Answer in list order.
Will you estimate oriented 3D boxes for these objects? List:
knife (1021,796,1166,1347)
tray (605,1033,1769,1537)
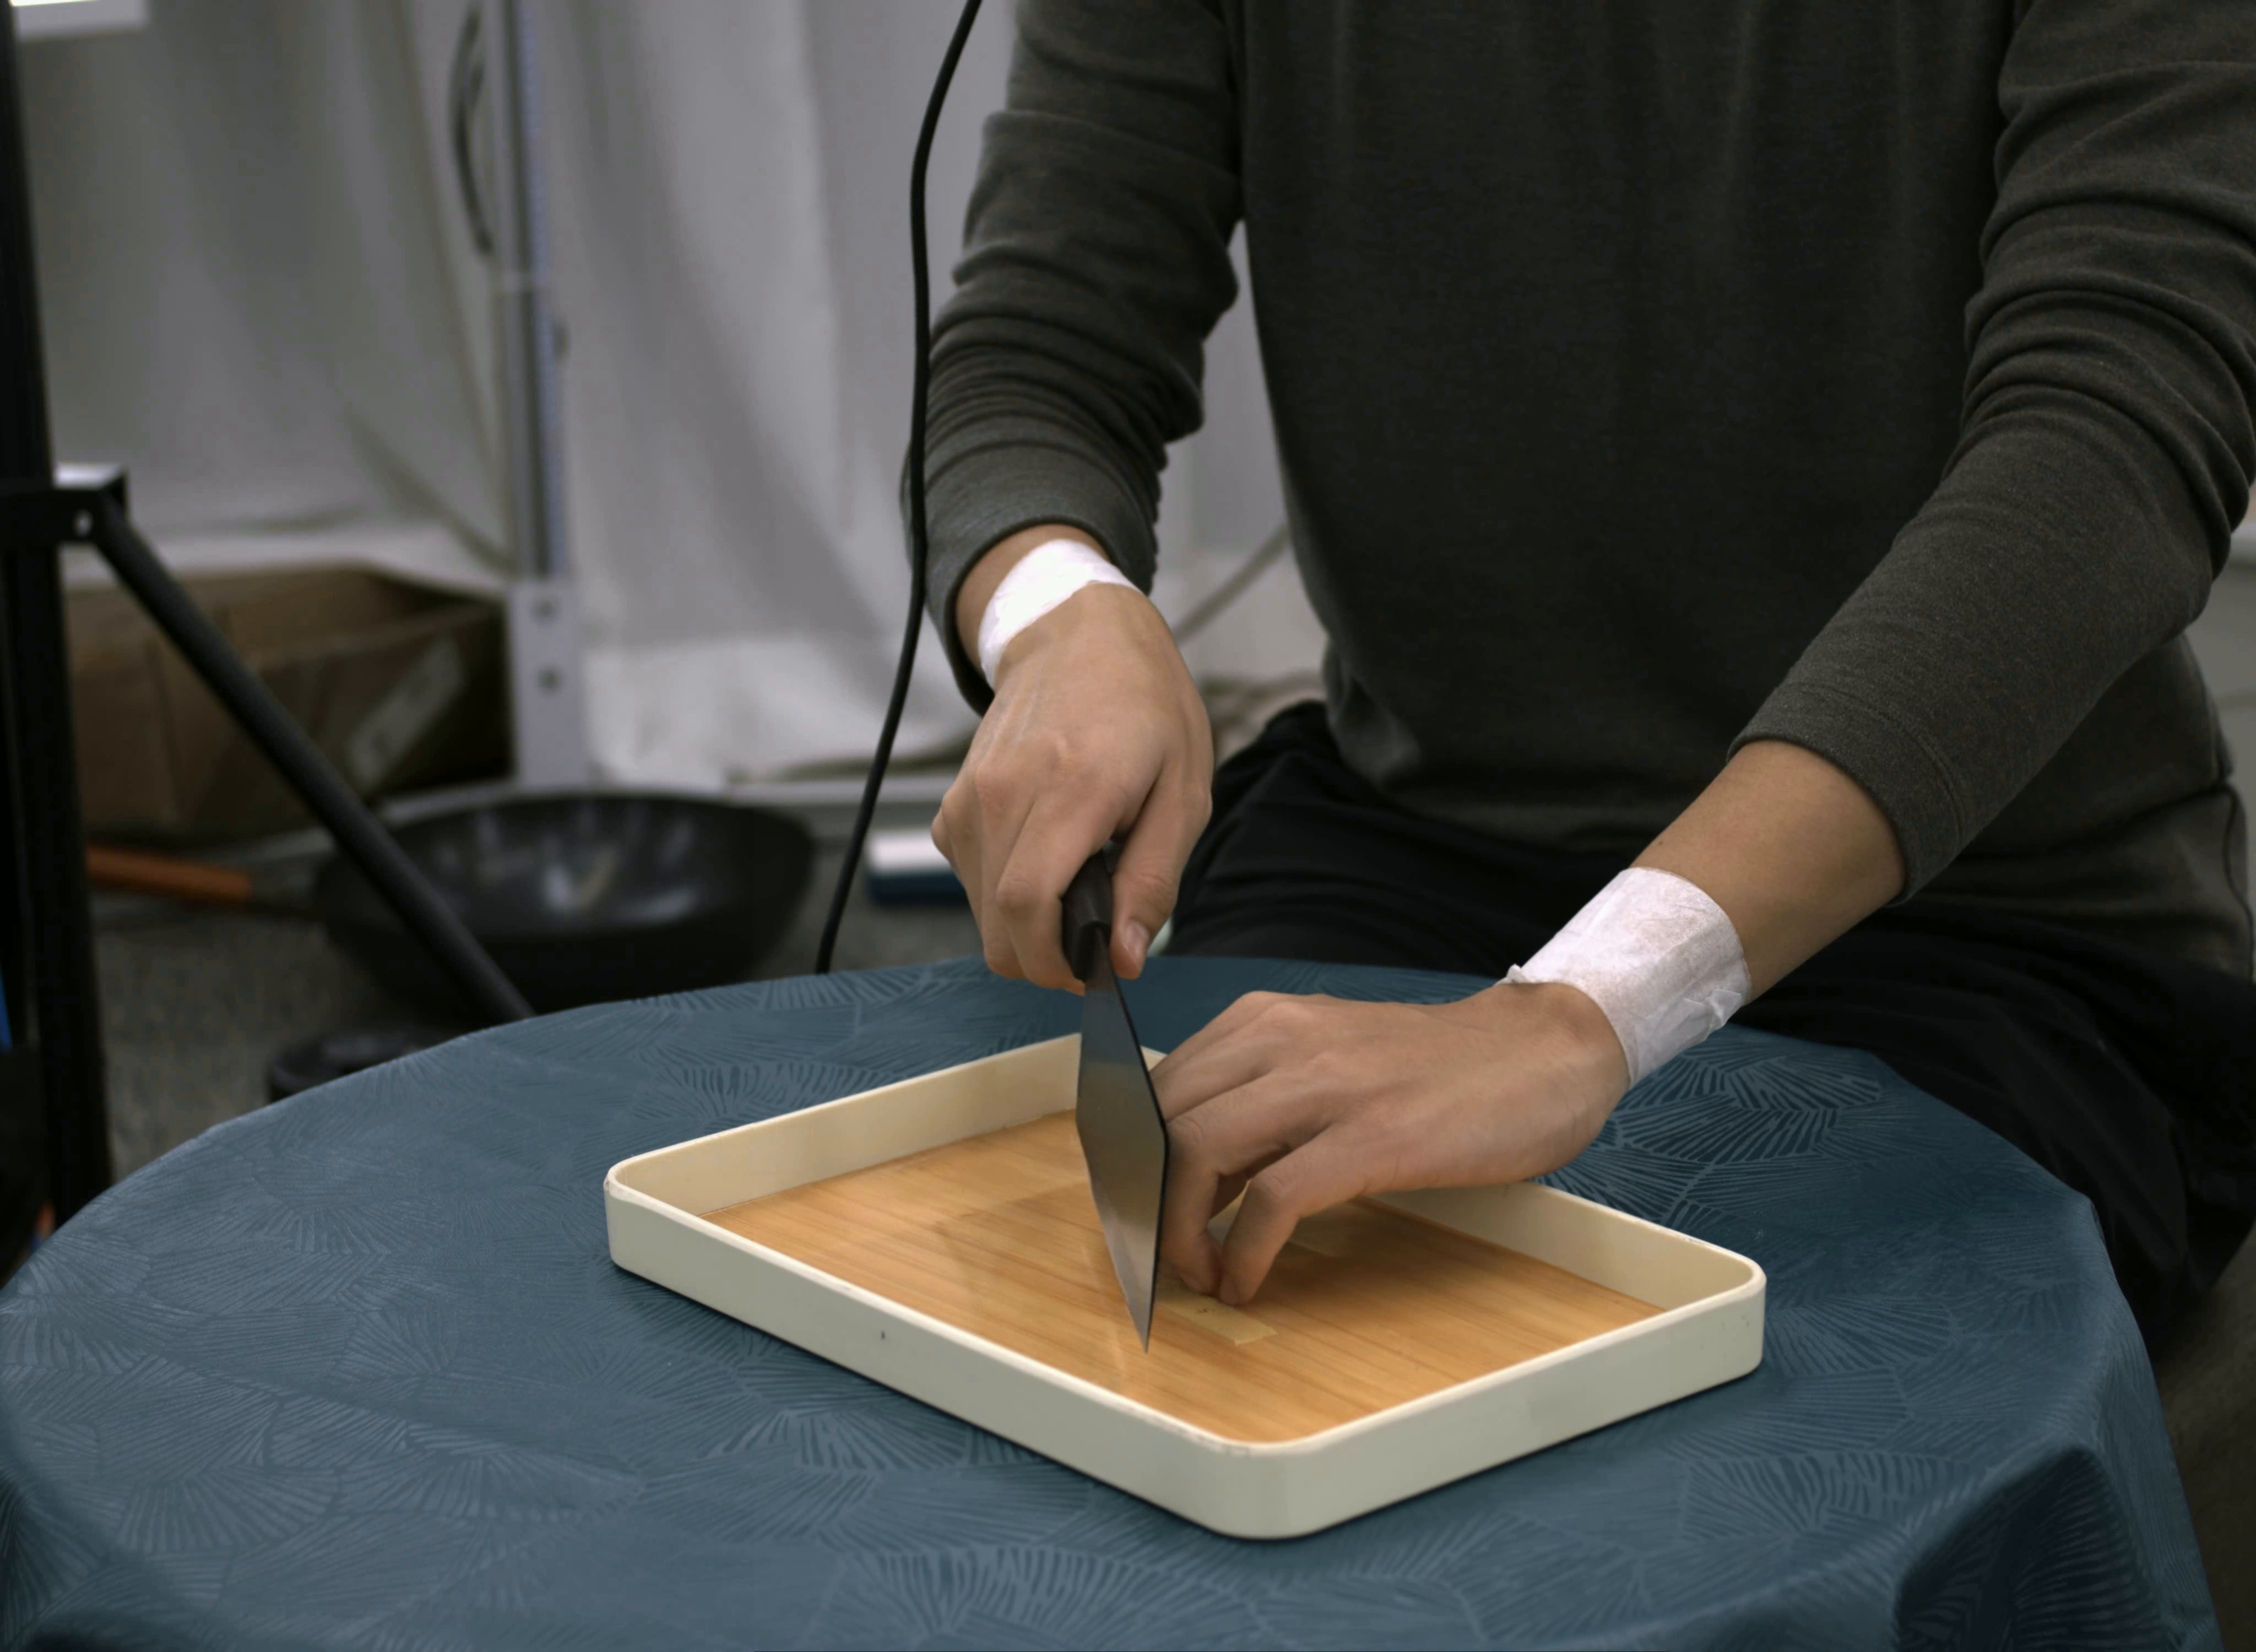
[{"bbox_3d":[-0.009,0.060,1.513,0.020,0.081,0.305,3,22,-8],"label":"knife"},{"bbox_3d":[0.011,0.121,1.465,0.187,0.027,0.307,-14,20,-36],"label":"tray"}]
